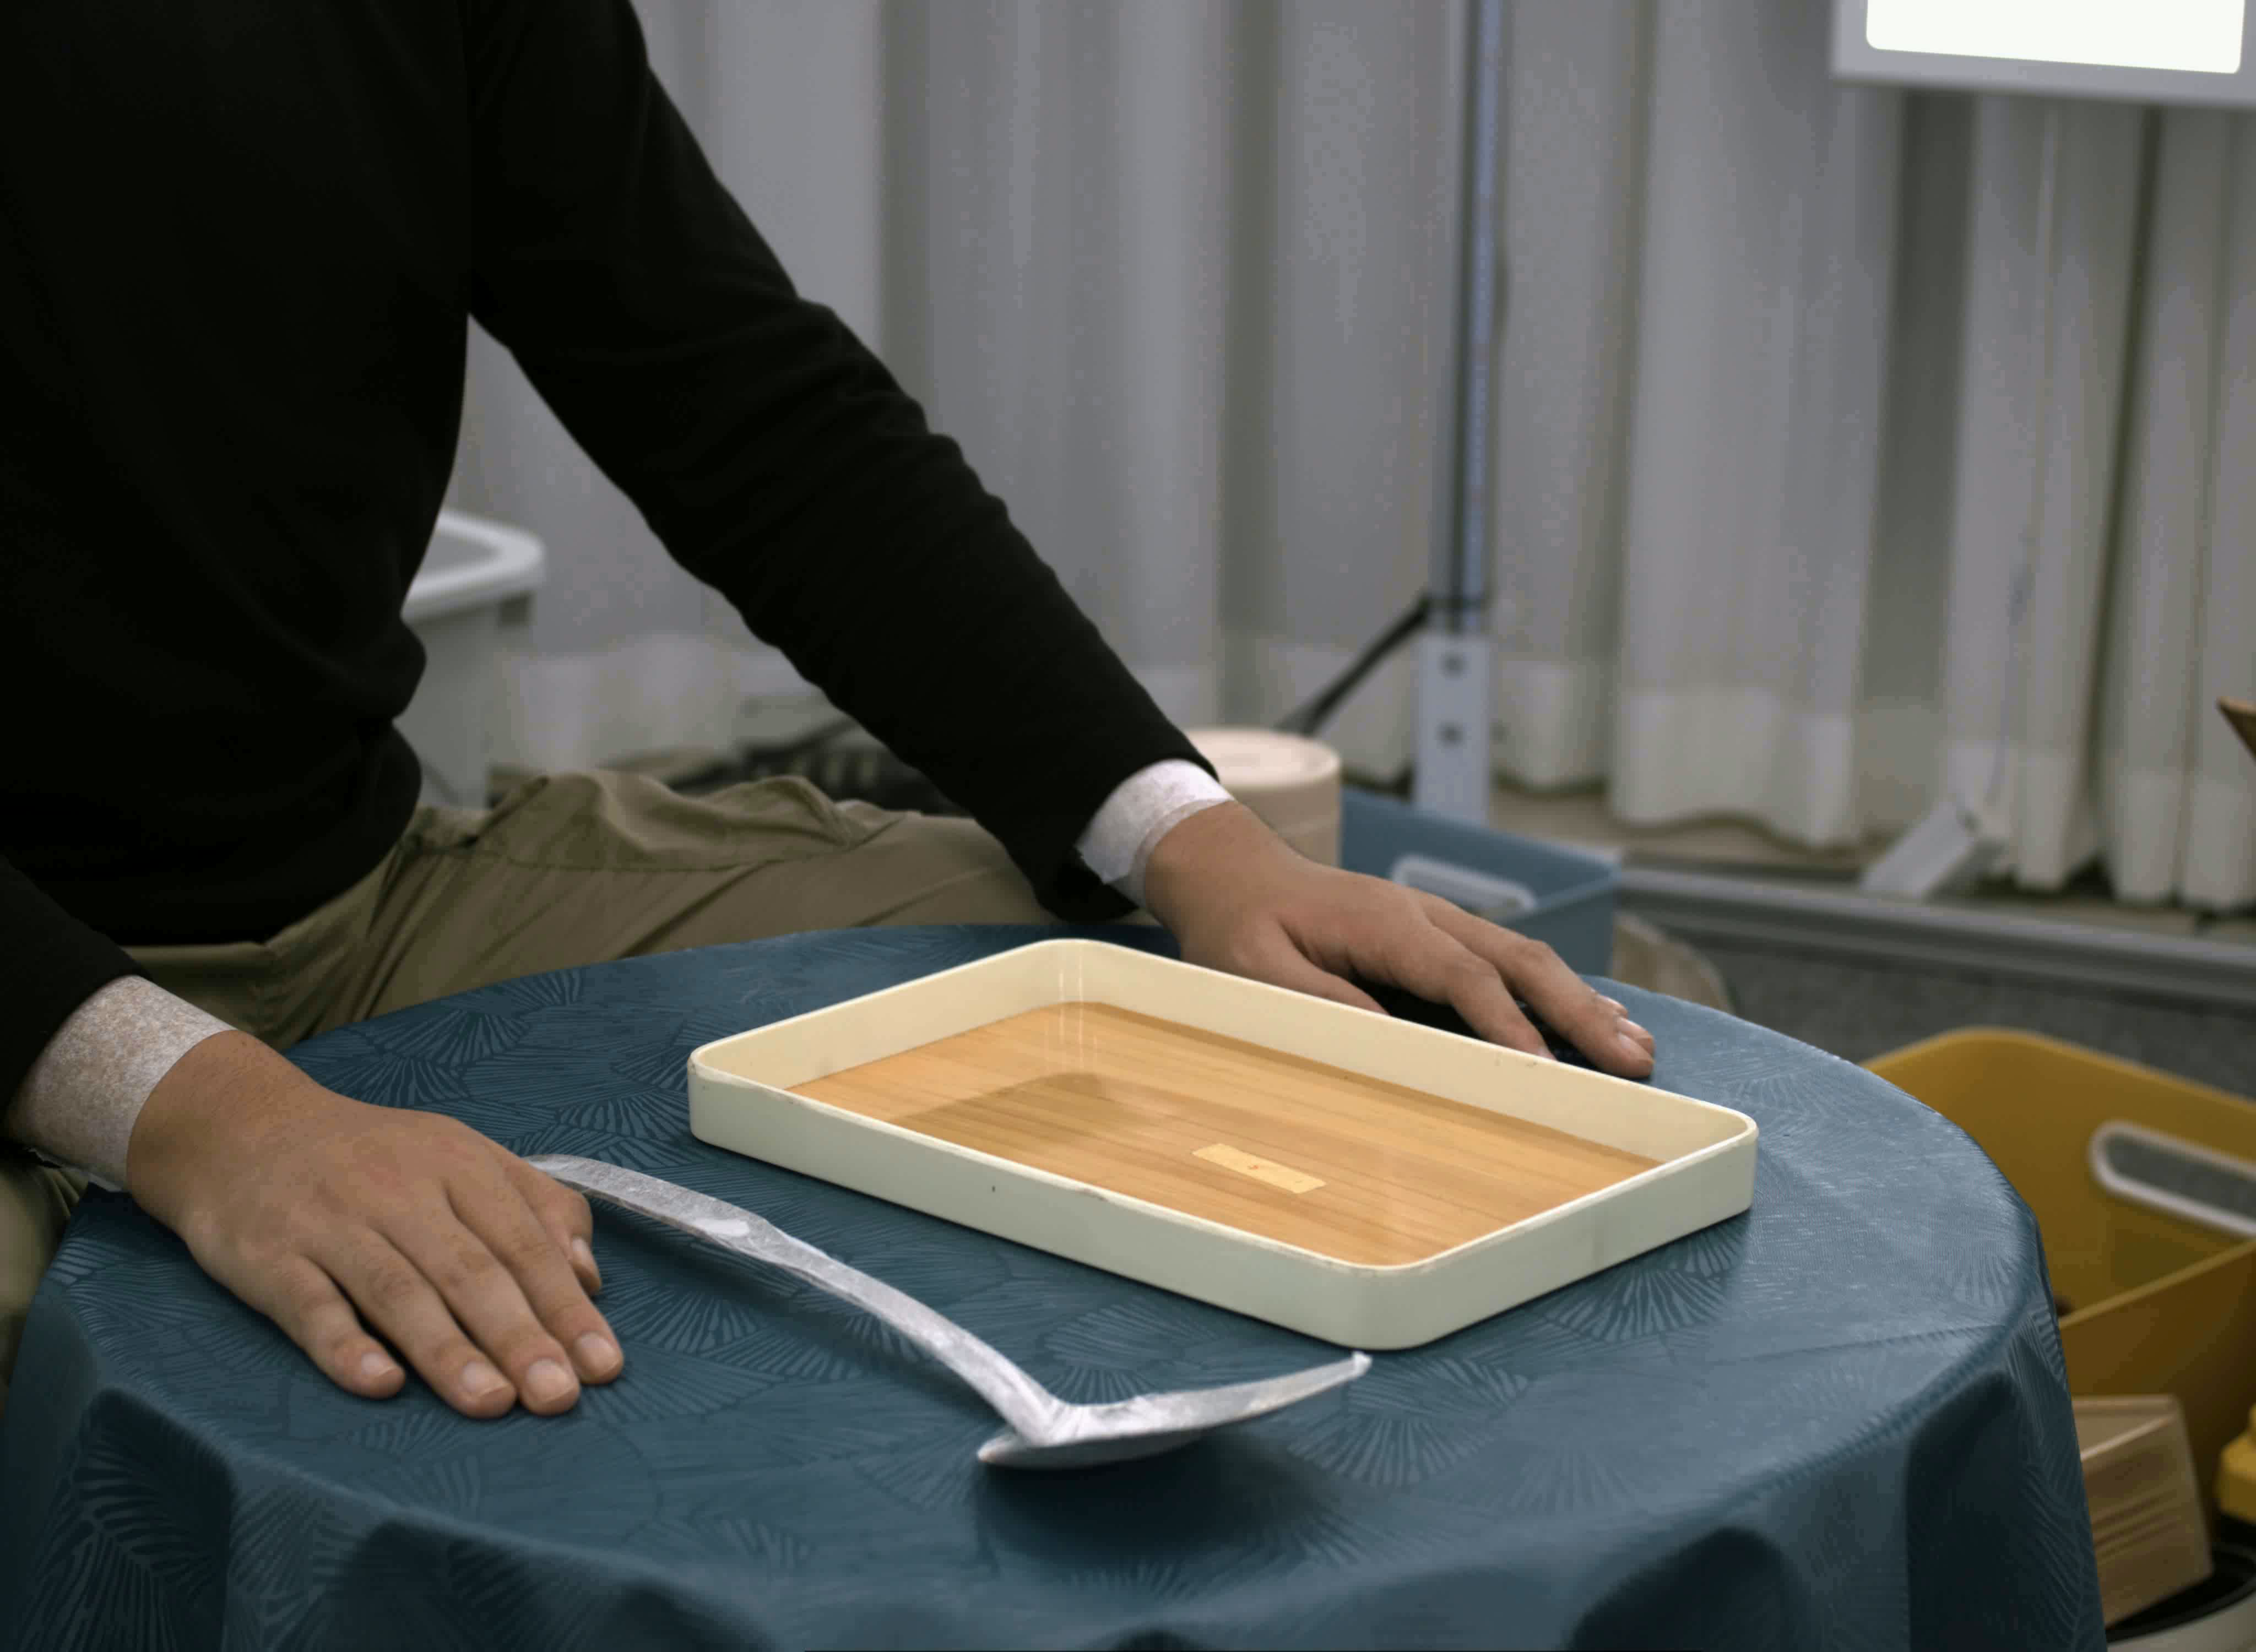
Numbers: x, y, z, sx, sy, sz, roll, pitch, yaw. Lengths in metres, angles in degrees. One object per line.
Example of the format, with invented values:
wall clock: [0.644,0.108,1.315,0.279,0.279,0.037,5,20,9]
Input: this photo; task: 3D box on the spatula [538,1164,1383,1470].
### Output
spatula: [-0.073,0.128,1.489,0.099,0.045,0.360,-12,20,-37]

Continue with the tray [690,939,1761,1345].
tray: [0.027,0.094,1.638,0.296,0.027,0.192,14,20,40]
